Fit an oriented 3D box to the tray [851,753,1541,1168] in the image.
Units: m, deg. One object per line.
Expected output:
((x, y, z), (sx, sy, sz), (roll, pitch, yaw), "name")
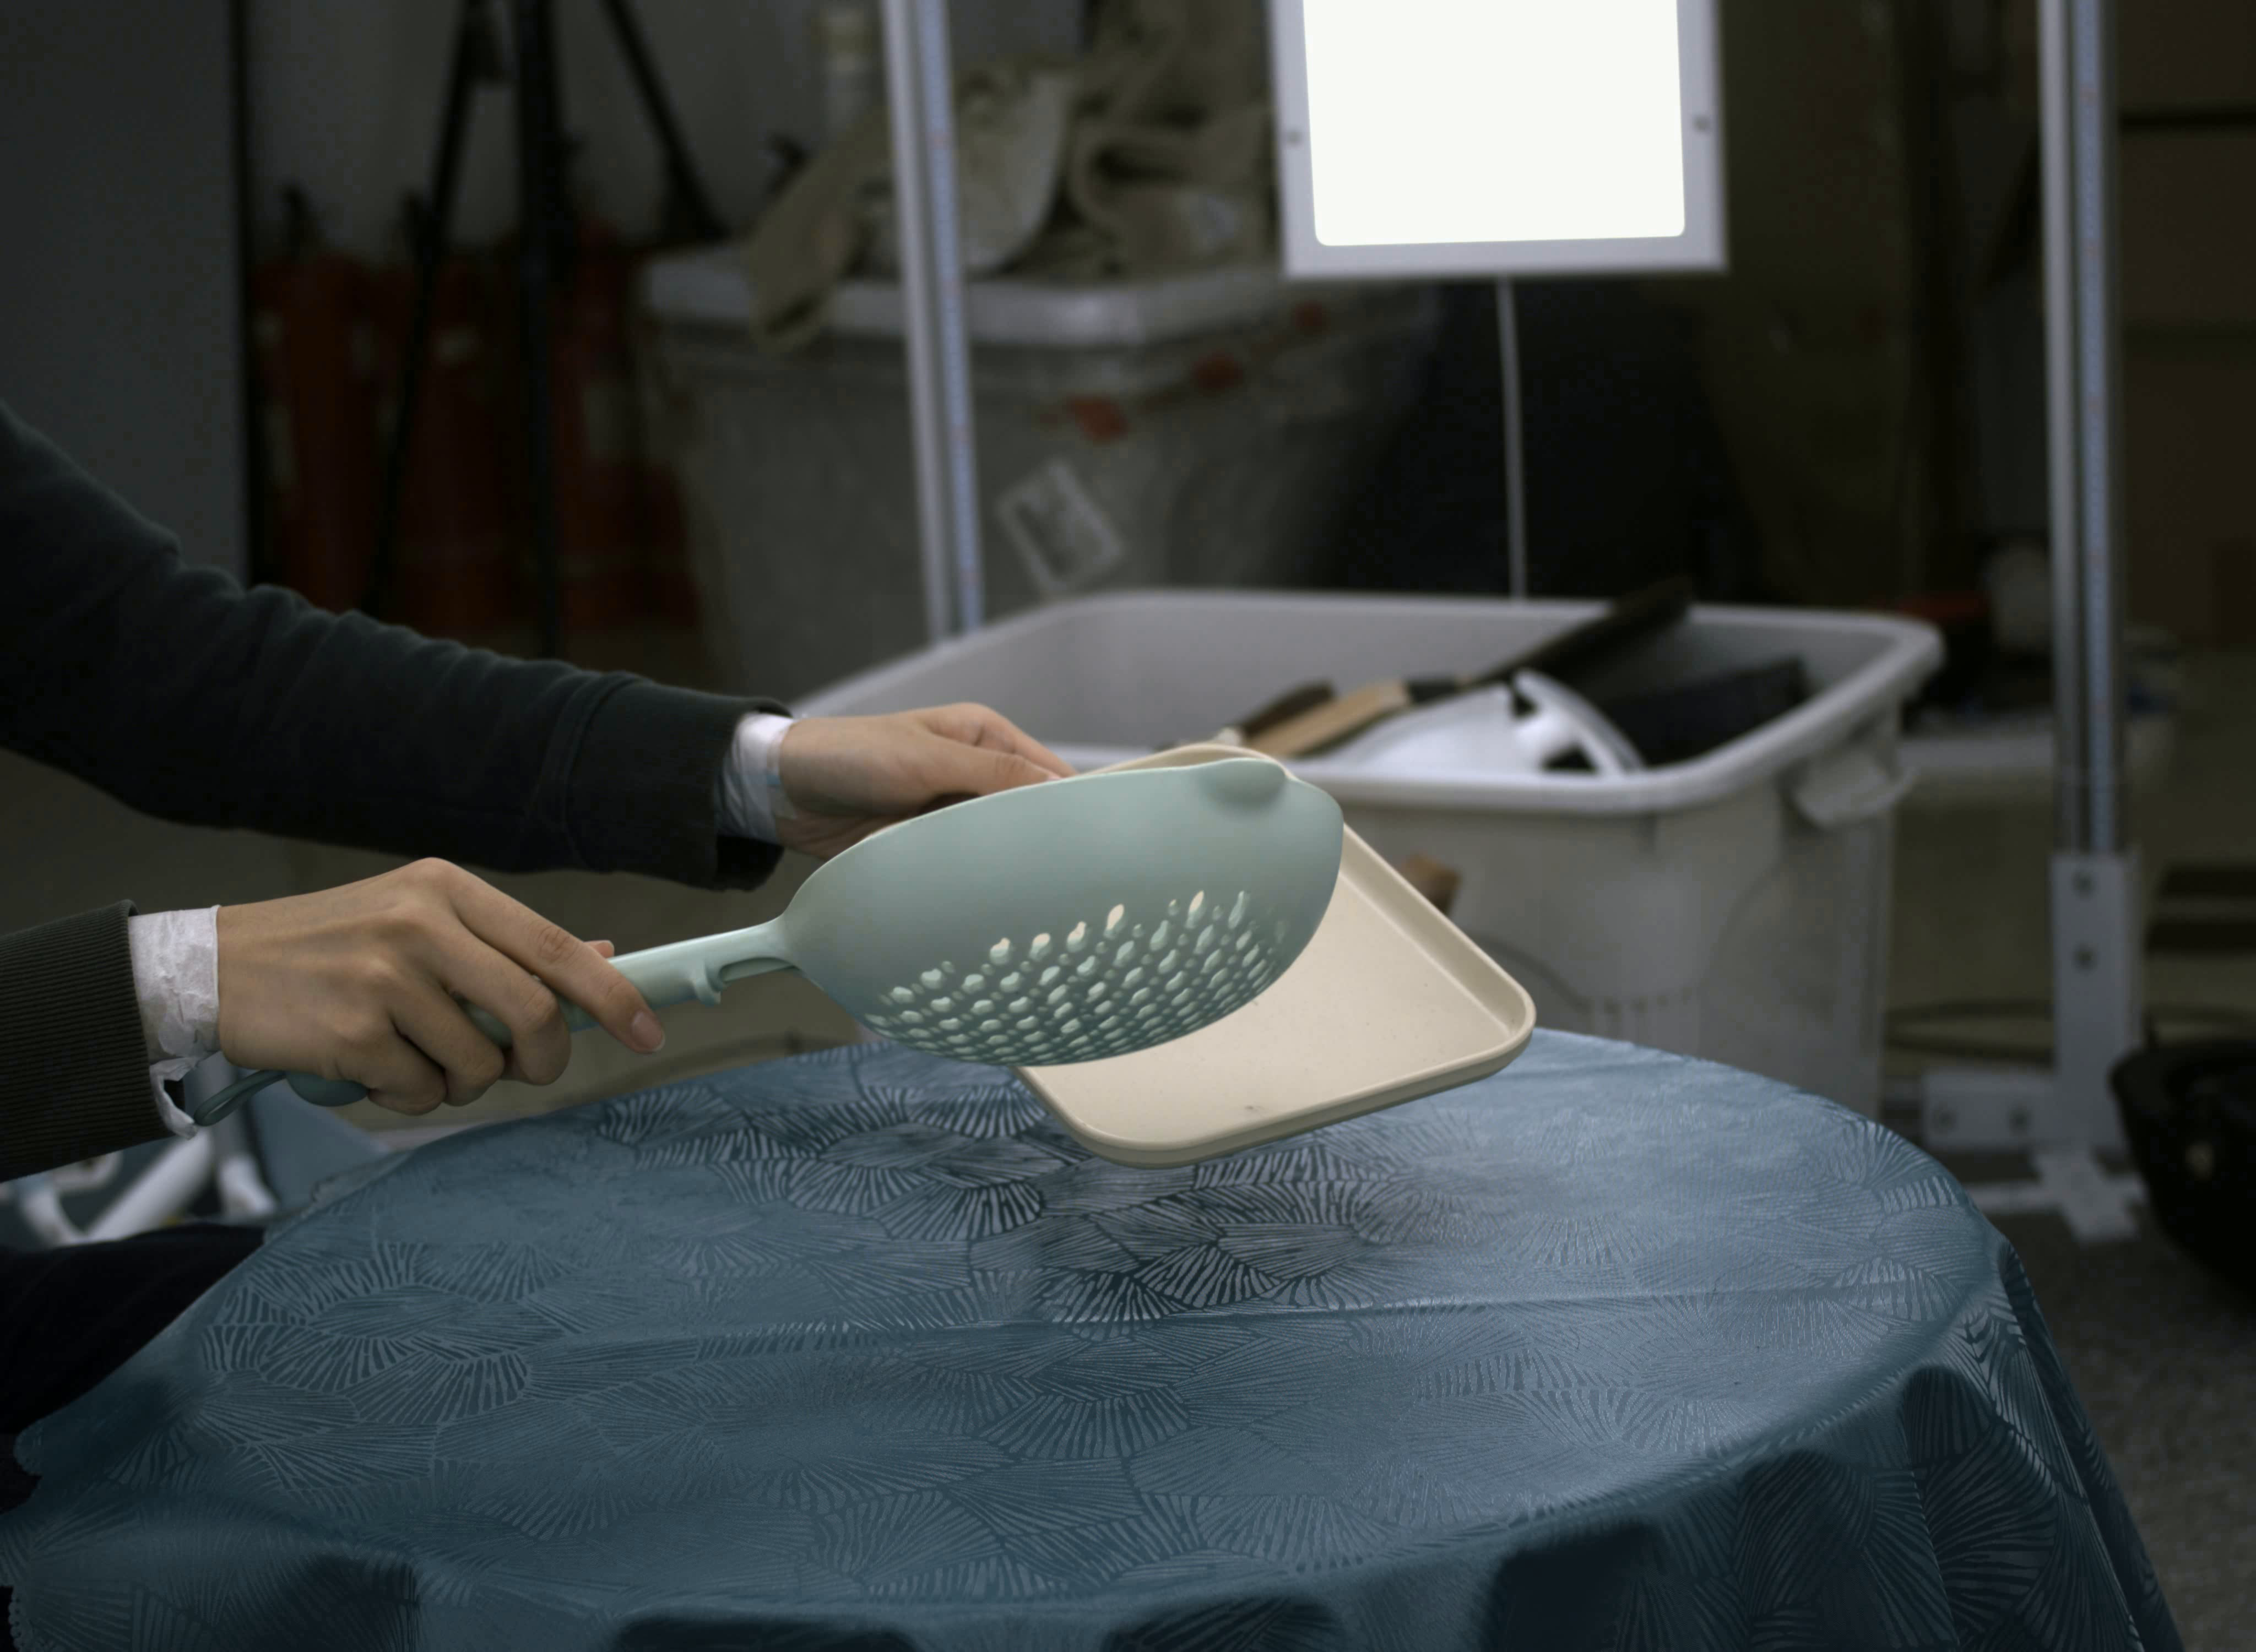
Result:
((0.020, 0.044, 1.878), (0.168, 0.017, 0.243), (-16, 31, -20), "tray")

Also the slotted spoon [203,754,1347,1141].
((-0.109, 0.045, 1.679), (0.361, 0.075, 0.168), (-5, -19, 10), "slotted spoon")
